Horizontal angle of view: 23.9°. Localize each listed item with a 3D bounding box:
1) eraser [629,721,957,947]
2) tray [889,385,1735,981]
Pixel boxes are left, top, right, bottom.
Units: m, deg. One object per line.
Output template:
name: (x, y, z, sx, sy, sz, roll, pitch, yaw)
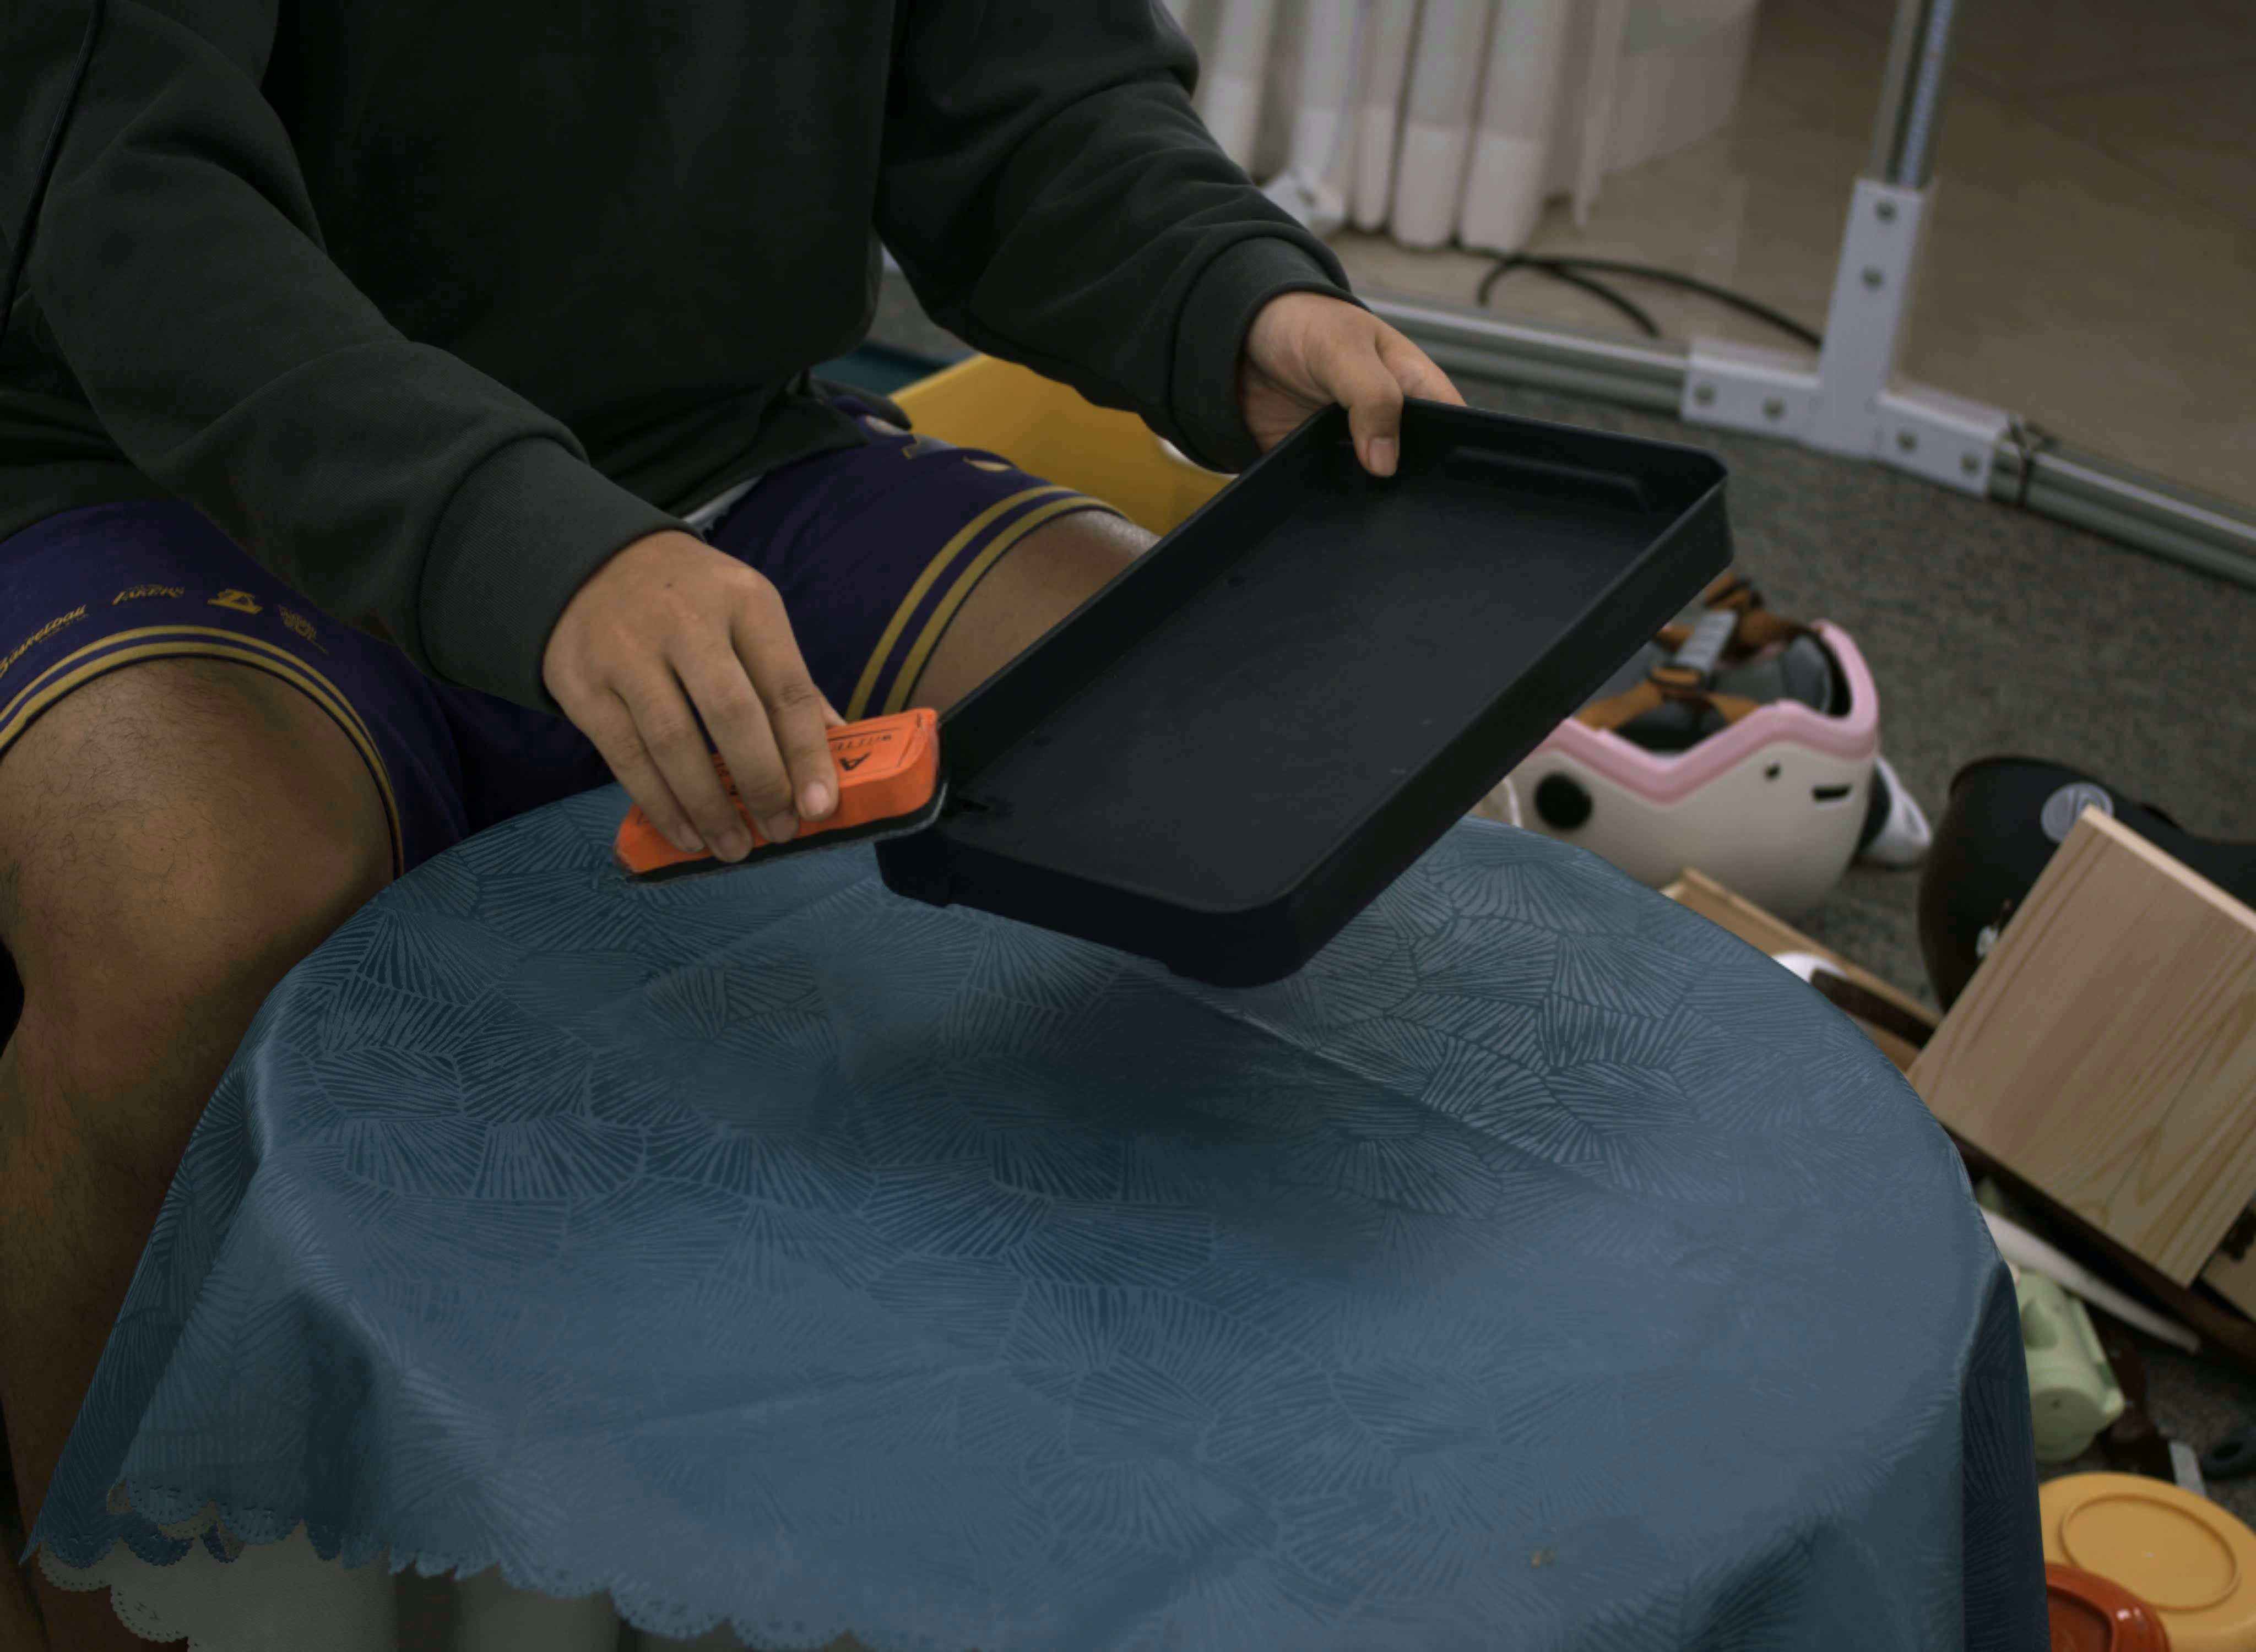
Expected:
eraser: (-0.114, 0.002, 1.799, 0.108, 0.023, 0.059, -23, 24, -2)
tray: (0.067, -0.058, 1.887, 0.185, 0.037, 0.318, 12, 39, 36)
